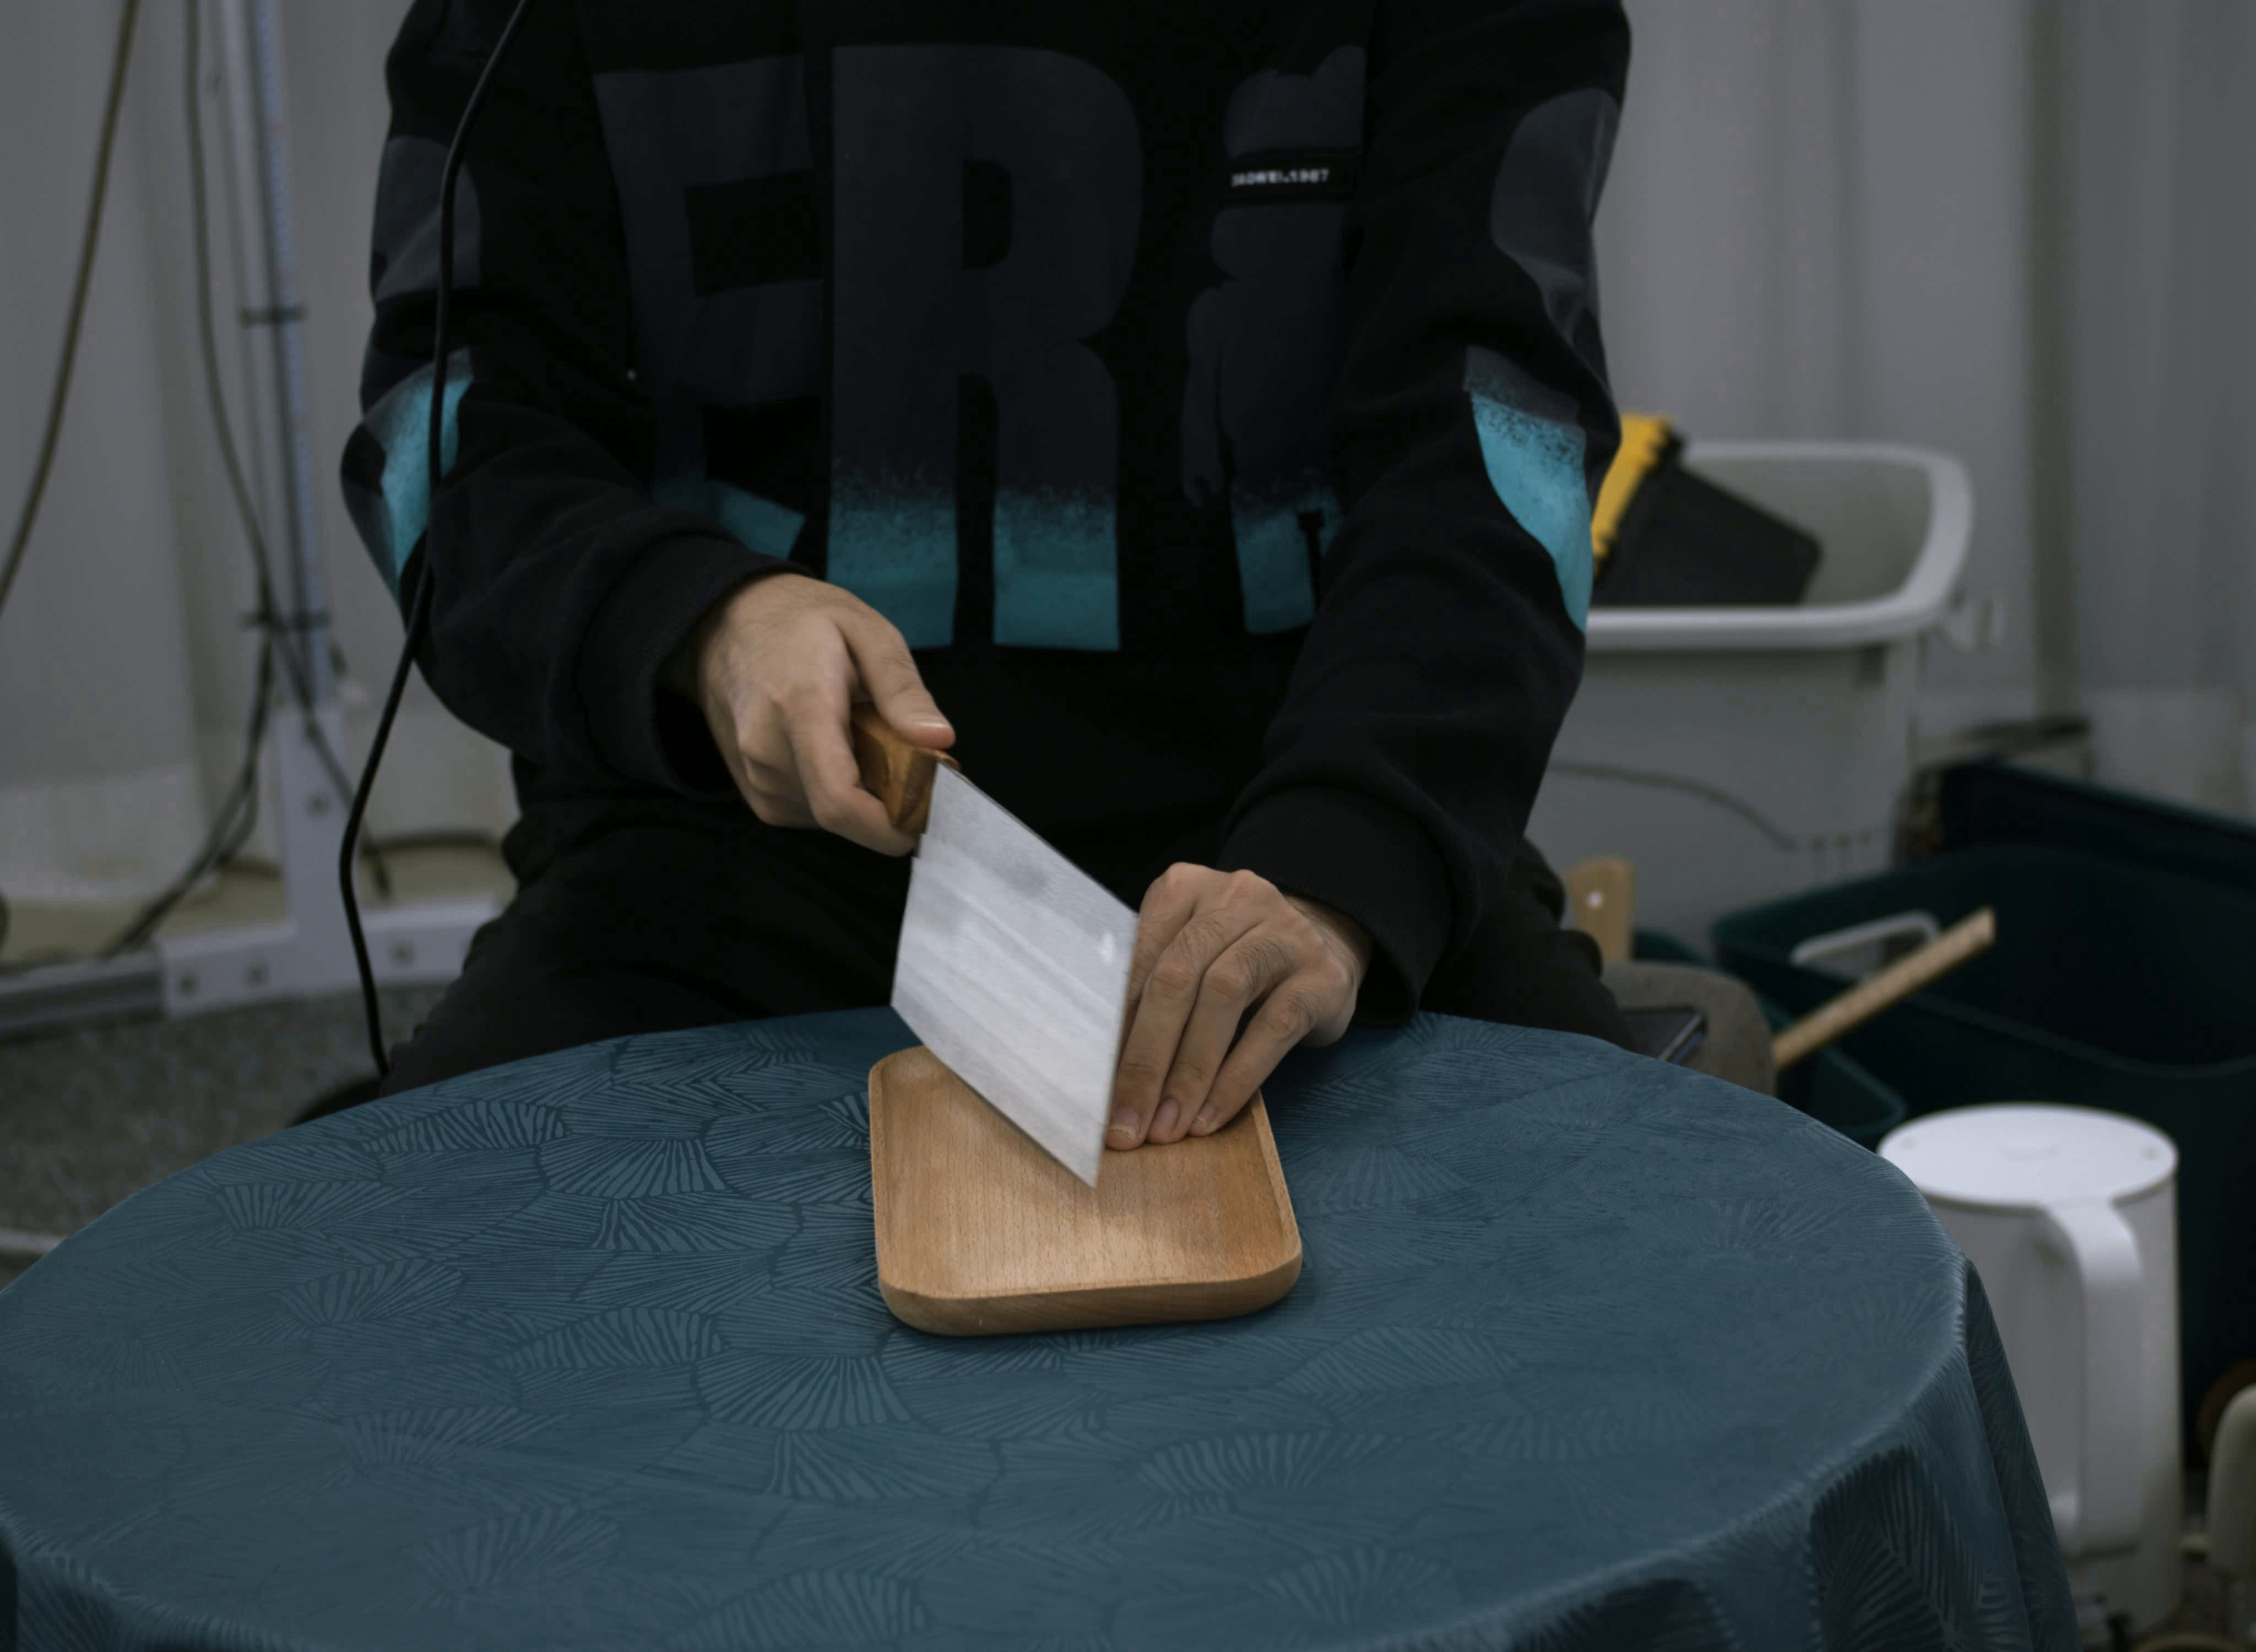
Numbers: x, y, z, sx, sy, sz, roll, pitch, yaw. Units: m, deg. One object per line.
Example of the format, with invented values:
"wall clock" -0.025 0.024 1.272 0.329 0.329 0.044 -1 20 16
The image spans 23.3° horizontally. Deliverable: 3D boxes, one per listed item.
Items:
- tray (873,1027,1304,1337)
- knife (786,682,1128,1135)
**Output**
"tray" -0.015 0.109 1.710 0.130 0.023 0.252 -1 14 -1
"knife" -0.060 0.026 1.789 0.021 0.092 0.308 4 14 -23
